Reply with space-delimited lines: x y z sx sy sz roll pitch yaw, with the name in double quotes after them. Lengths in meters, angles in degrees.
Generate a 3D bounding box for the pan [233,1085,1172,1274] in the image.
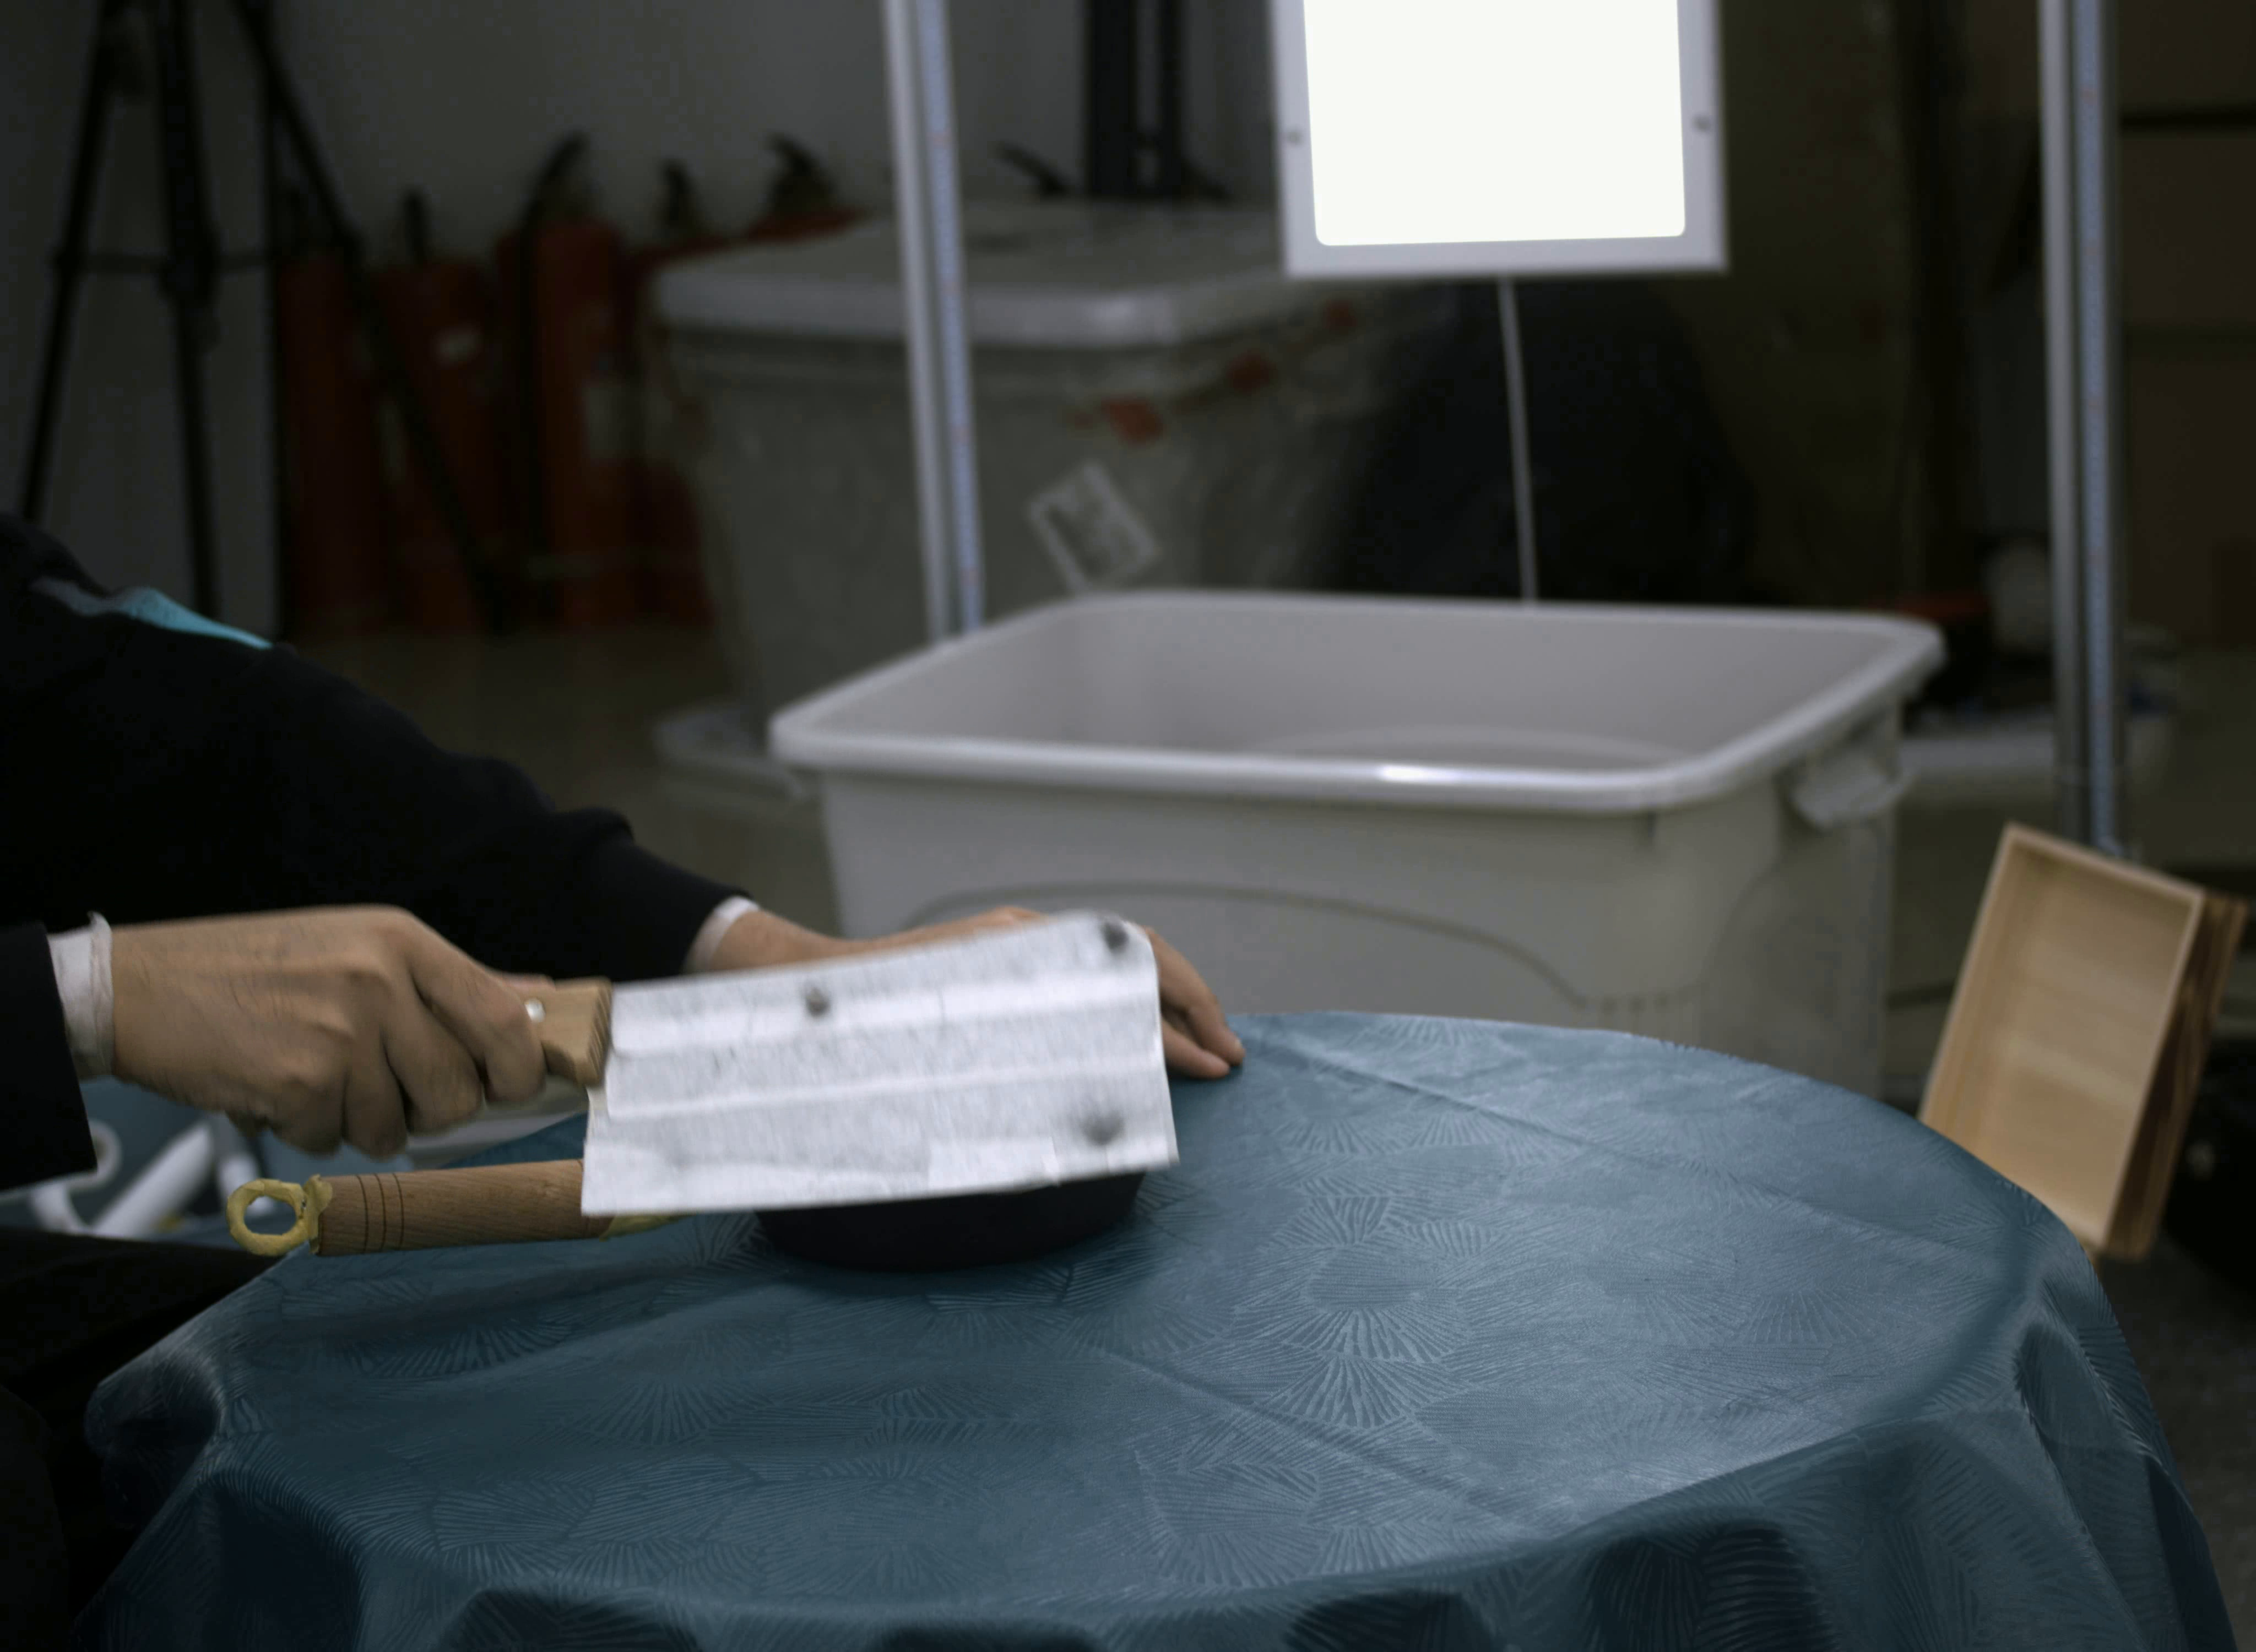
-0.141 0.122 1.860 0.319 0.050 0.171 -8 14 -17 "pan"

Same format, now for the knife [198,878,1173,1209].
-0.140 0.070 1.726 0.317 0.021 0.113 -4 54 11 "knife"
